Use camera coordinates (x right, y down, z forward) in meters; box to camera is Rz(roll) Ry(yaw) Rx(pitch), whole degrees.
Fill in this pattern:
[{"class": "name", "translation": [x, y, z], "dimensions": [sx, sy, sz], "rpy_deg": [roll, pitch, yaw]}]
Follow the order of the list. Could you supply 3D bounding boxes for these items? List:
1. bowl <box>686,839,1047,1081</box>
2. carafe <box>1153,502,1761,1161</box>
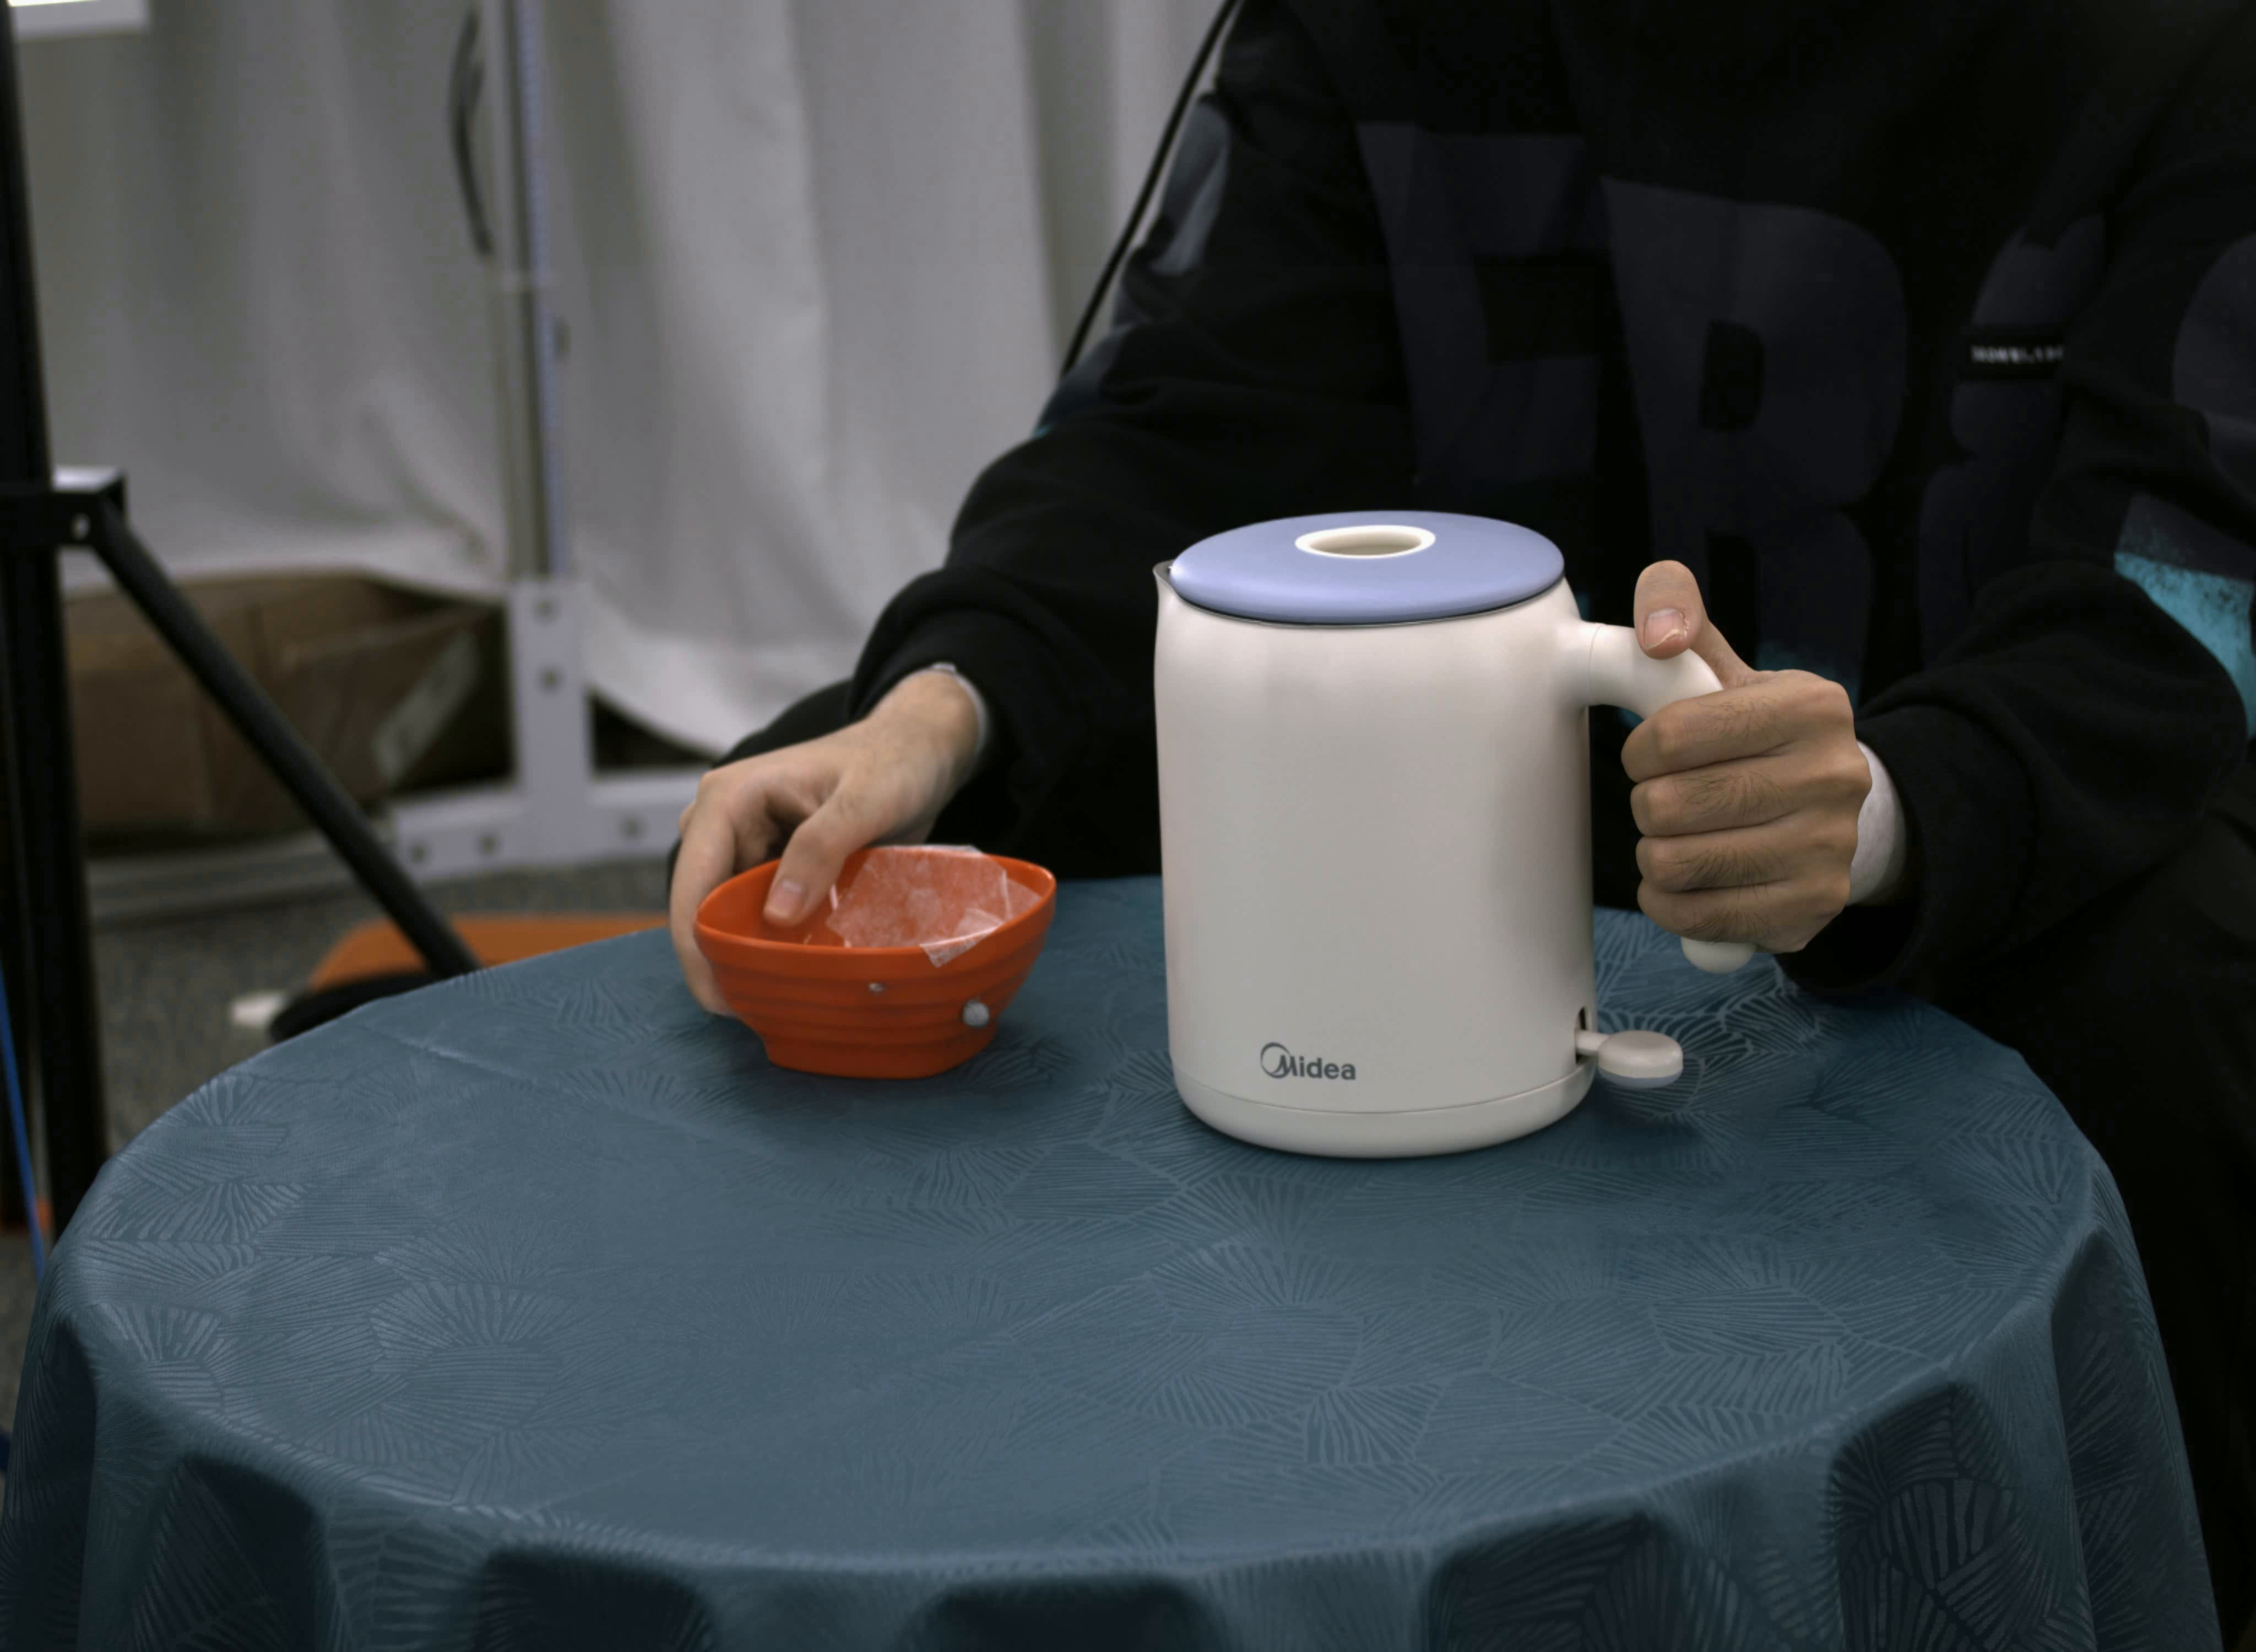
[{"class": "bowl", "translation": [-0.079, 0.046, 1.698], "dimensions": [0.118, 0.051, 0.119], "rpy_deg": [-10, 17, 1]}, {"class": "carafe", "translation": [0.098, 0.003, 1.599], "dimensions": [0.193, 0.182, 0.130], "rpy_deg": [6, 19, 22]}]
